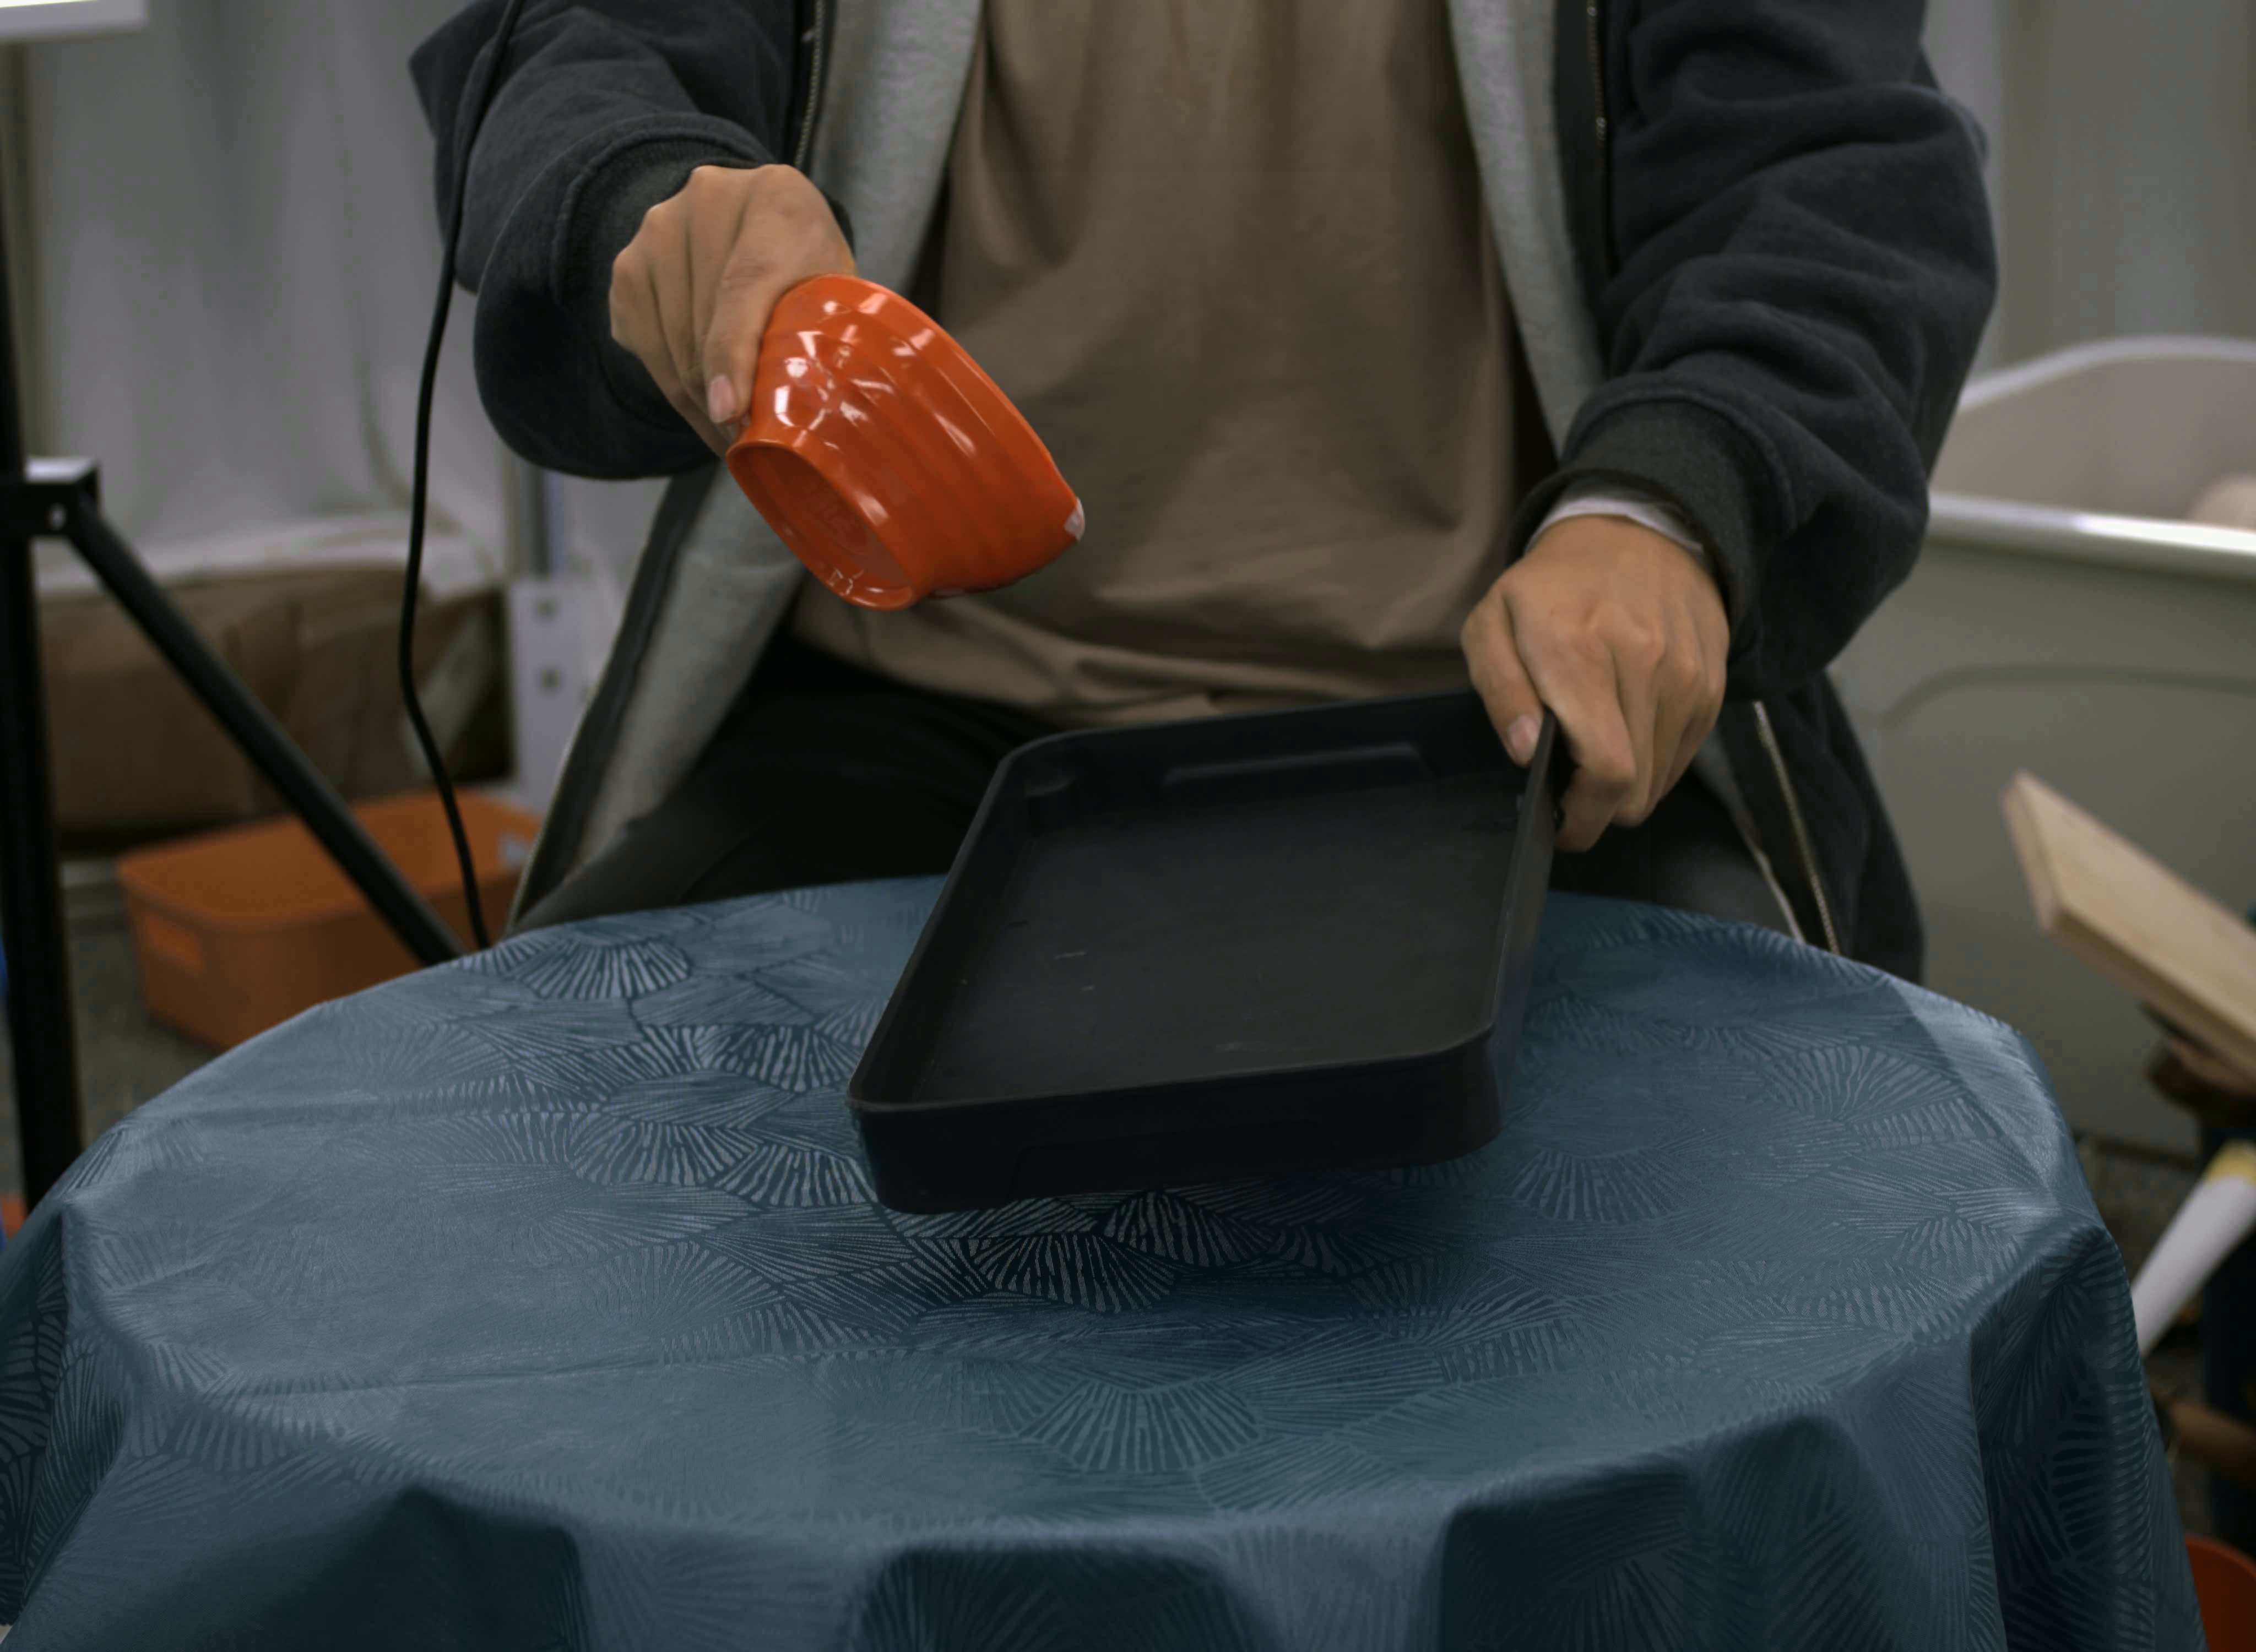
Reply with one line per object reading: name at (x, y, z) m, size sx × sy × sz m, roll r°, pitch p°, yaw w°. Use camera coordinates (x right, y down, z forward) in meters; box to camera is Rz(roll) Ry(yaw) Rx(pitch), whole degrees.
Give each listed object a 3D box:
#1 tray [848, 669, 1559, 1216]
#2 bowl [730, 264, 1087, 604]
tray at (0.032, 0.030, 1.591) m, size 0.185 × 0.037 × 0.317 m, roll -7°, pitch 19°, yaw 11°
bowl at (-0.073, -0.106, 1.560) m, size 0.051 × 0.117 × 0.121 m, roll -48°, pitch 34°, yaw -17°
